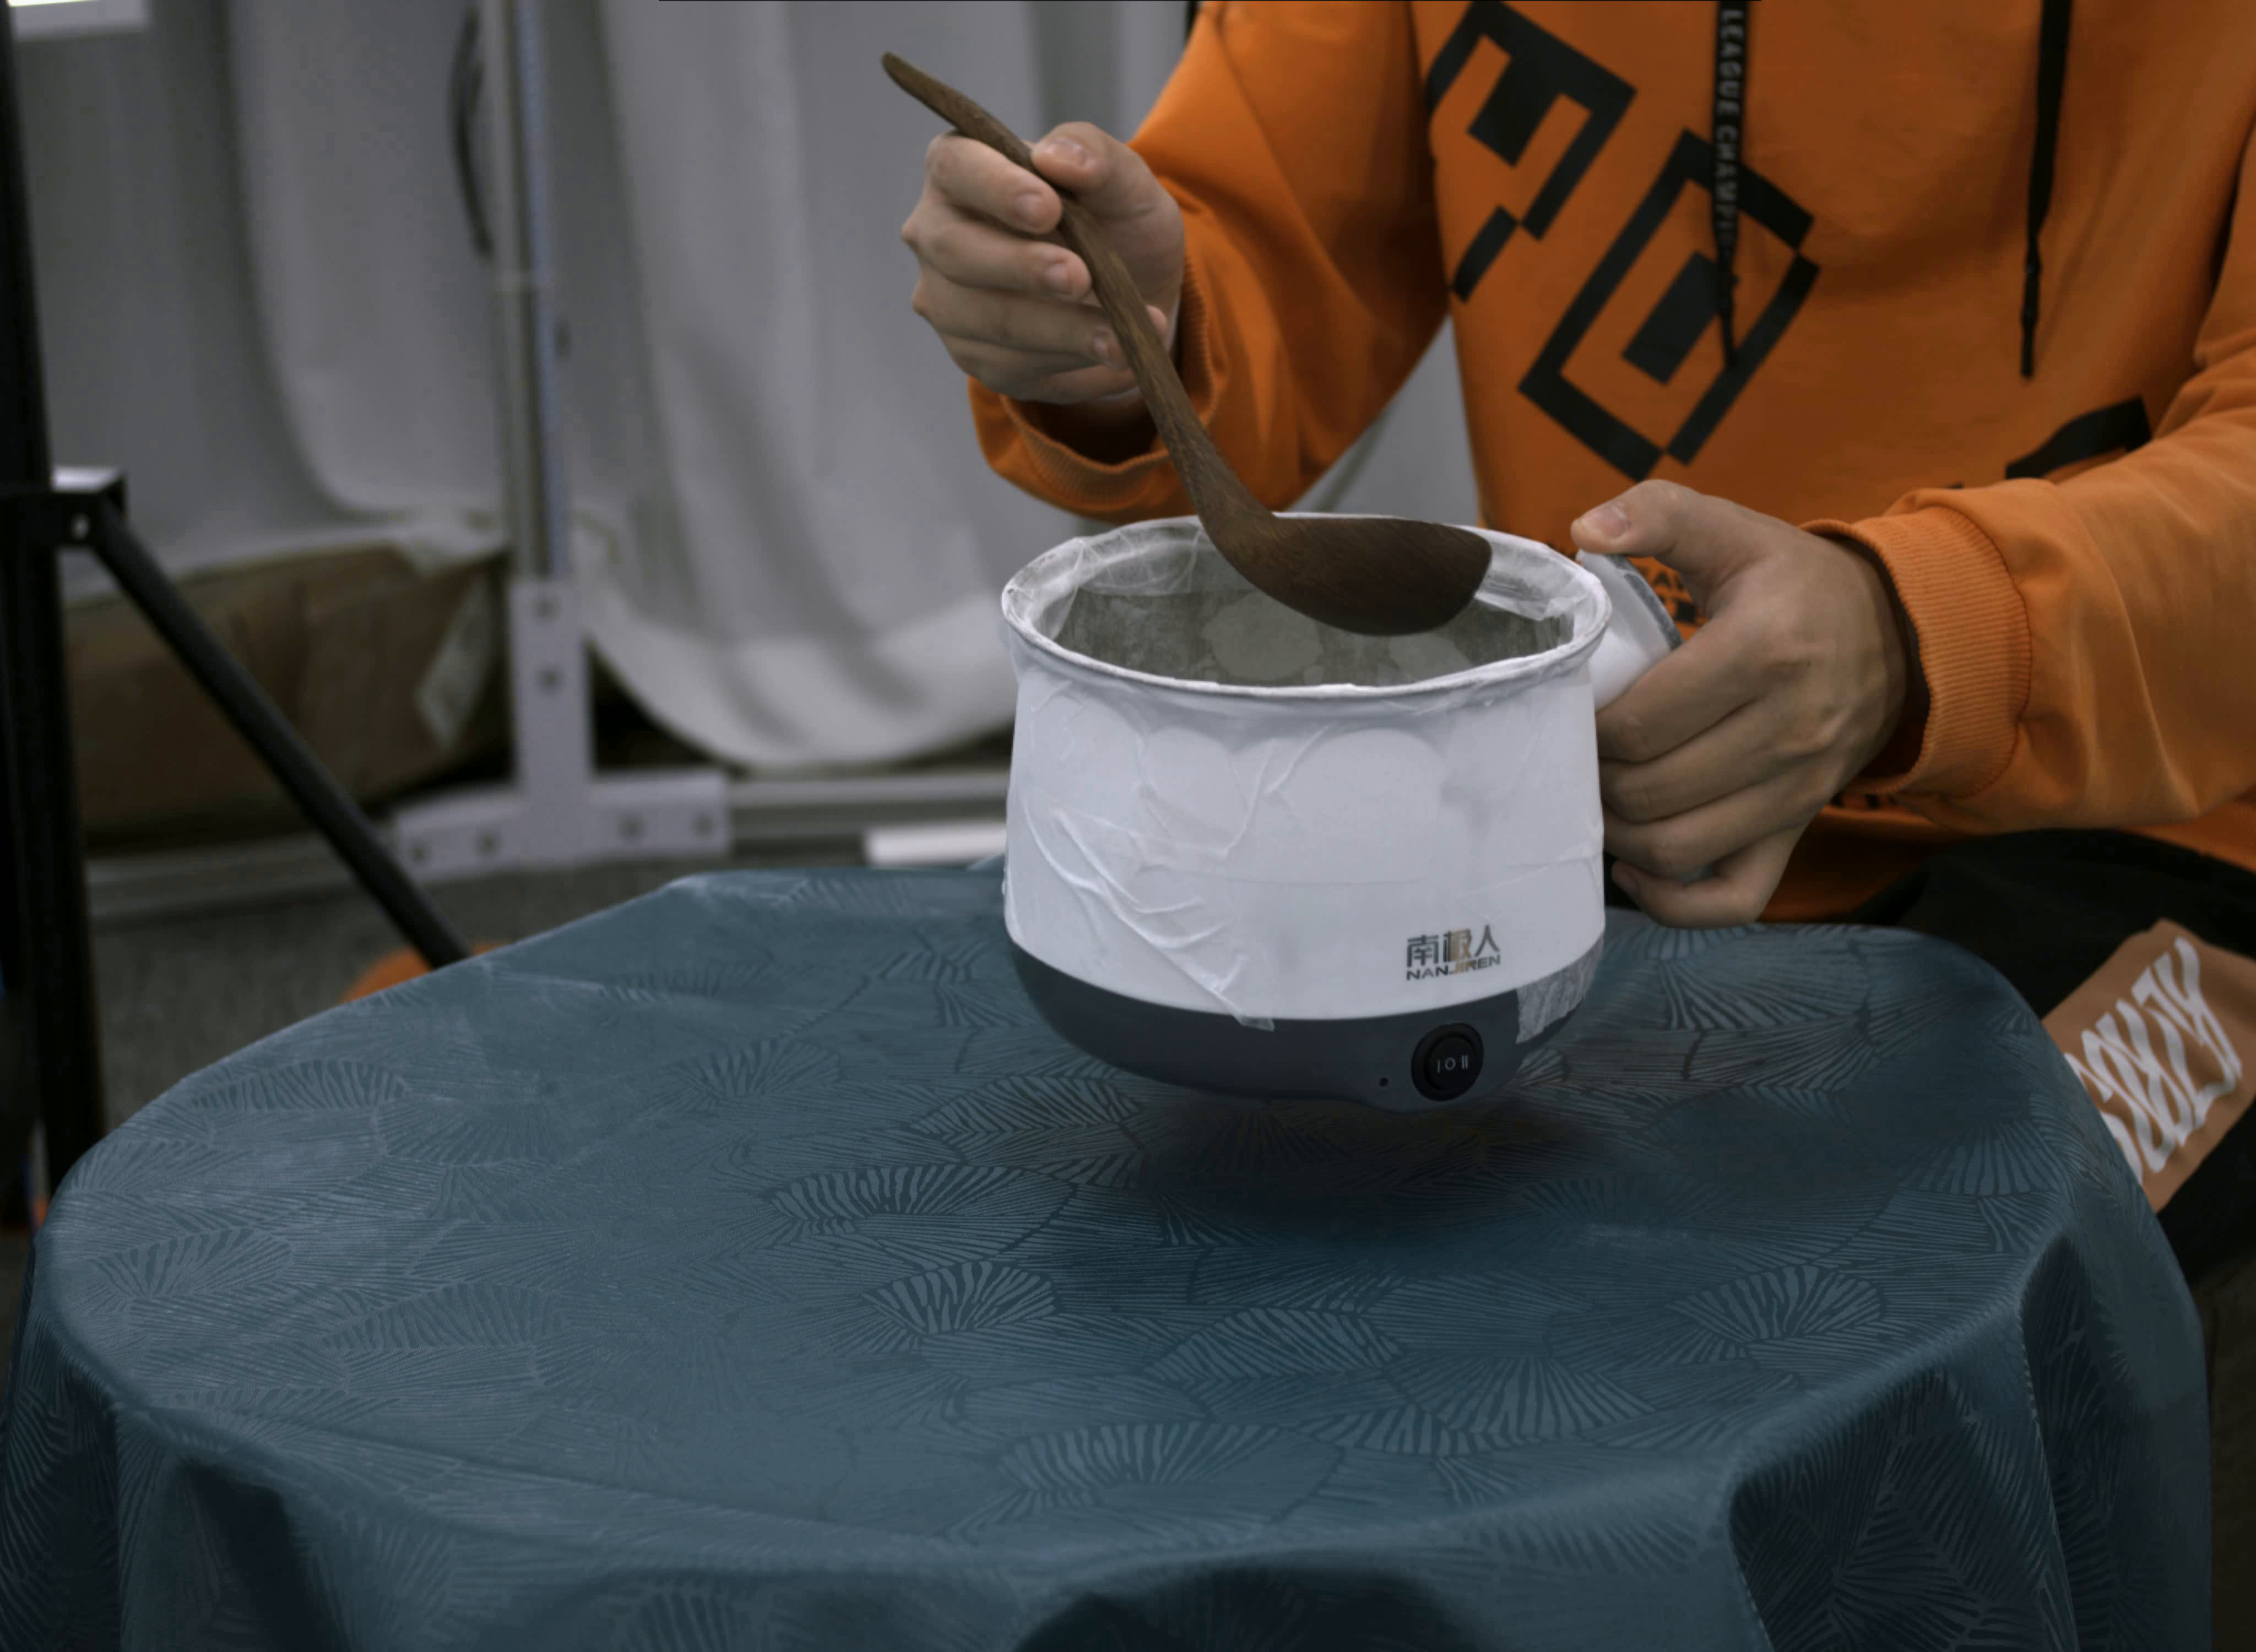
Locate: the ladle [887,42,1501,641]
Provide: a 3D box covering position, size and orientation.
[{"bbox_3d":[0.018,-0.159,1.607,0.279,0.071,0.074,58,14,29],"label":"ladle"}]

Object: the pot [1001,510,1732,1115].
[{"bbox_3d":[0.075,-0.011,1.563,0.229,0.136,0.182,-10,22,-26],"label":"pot"}]
